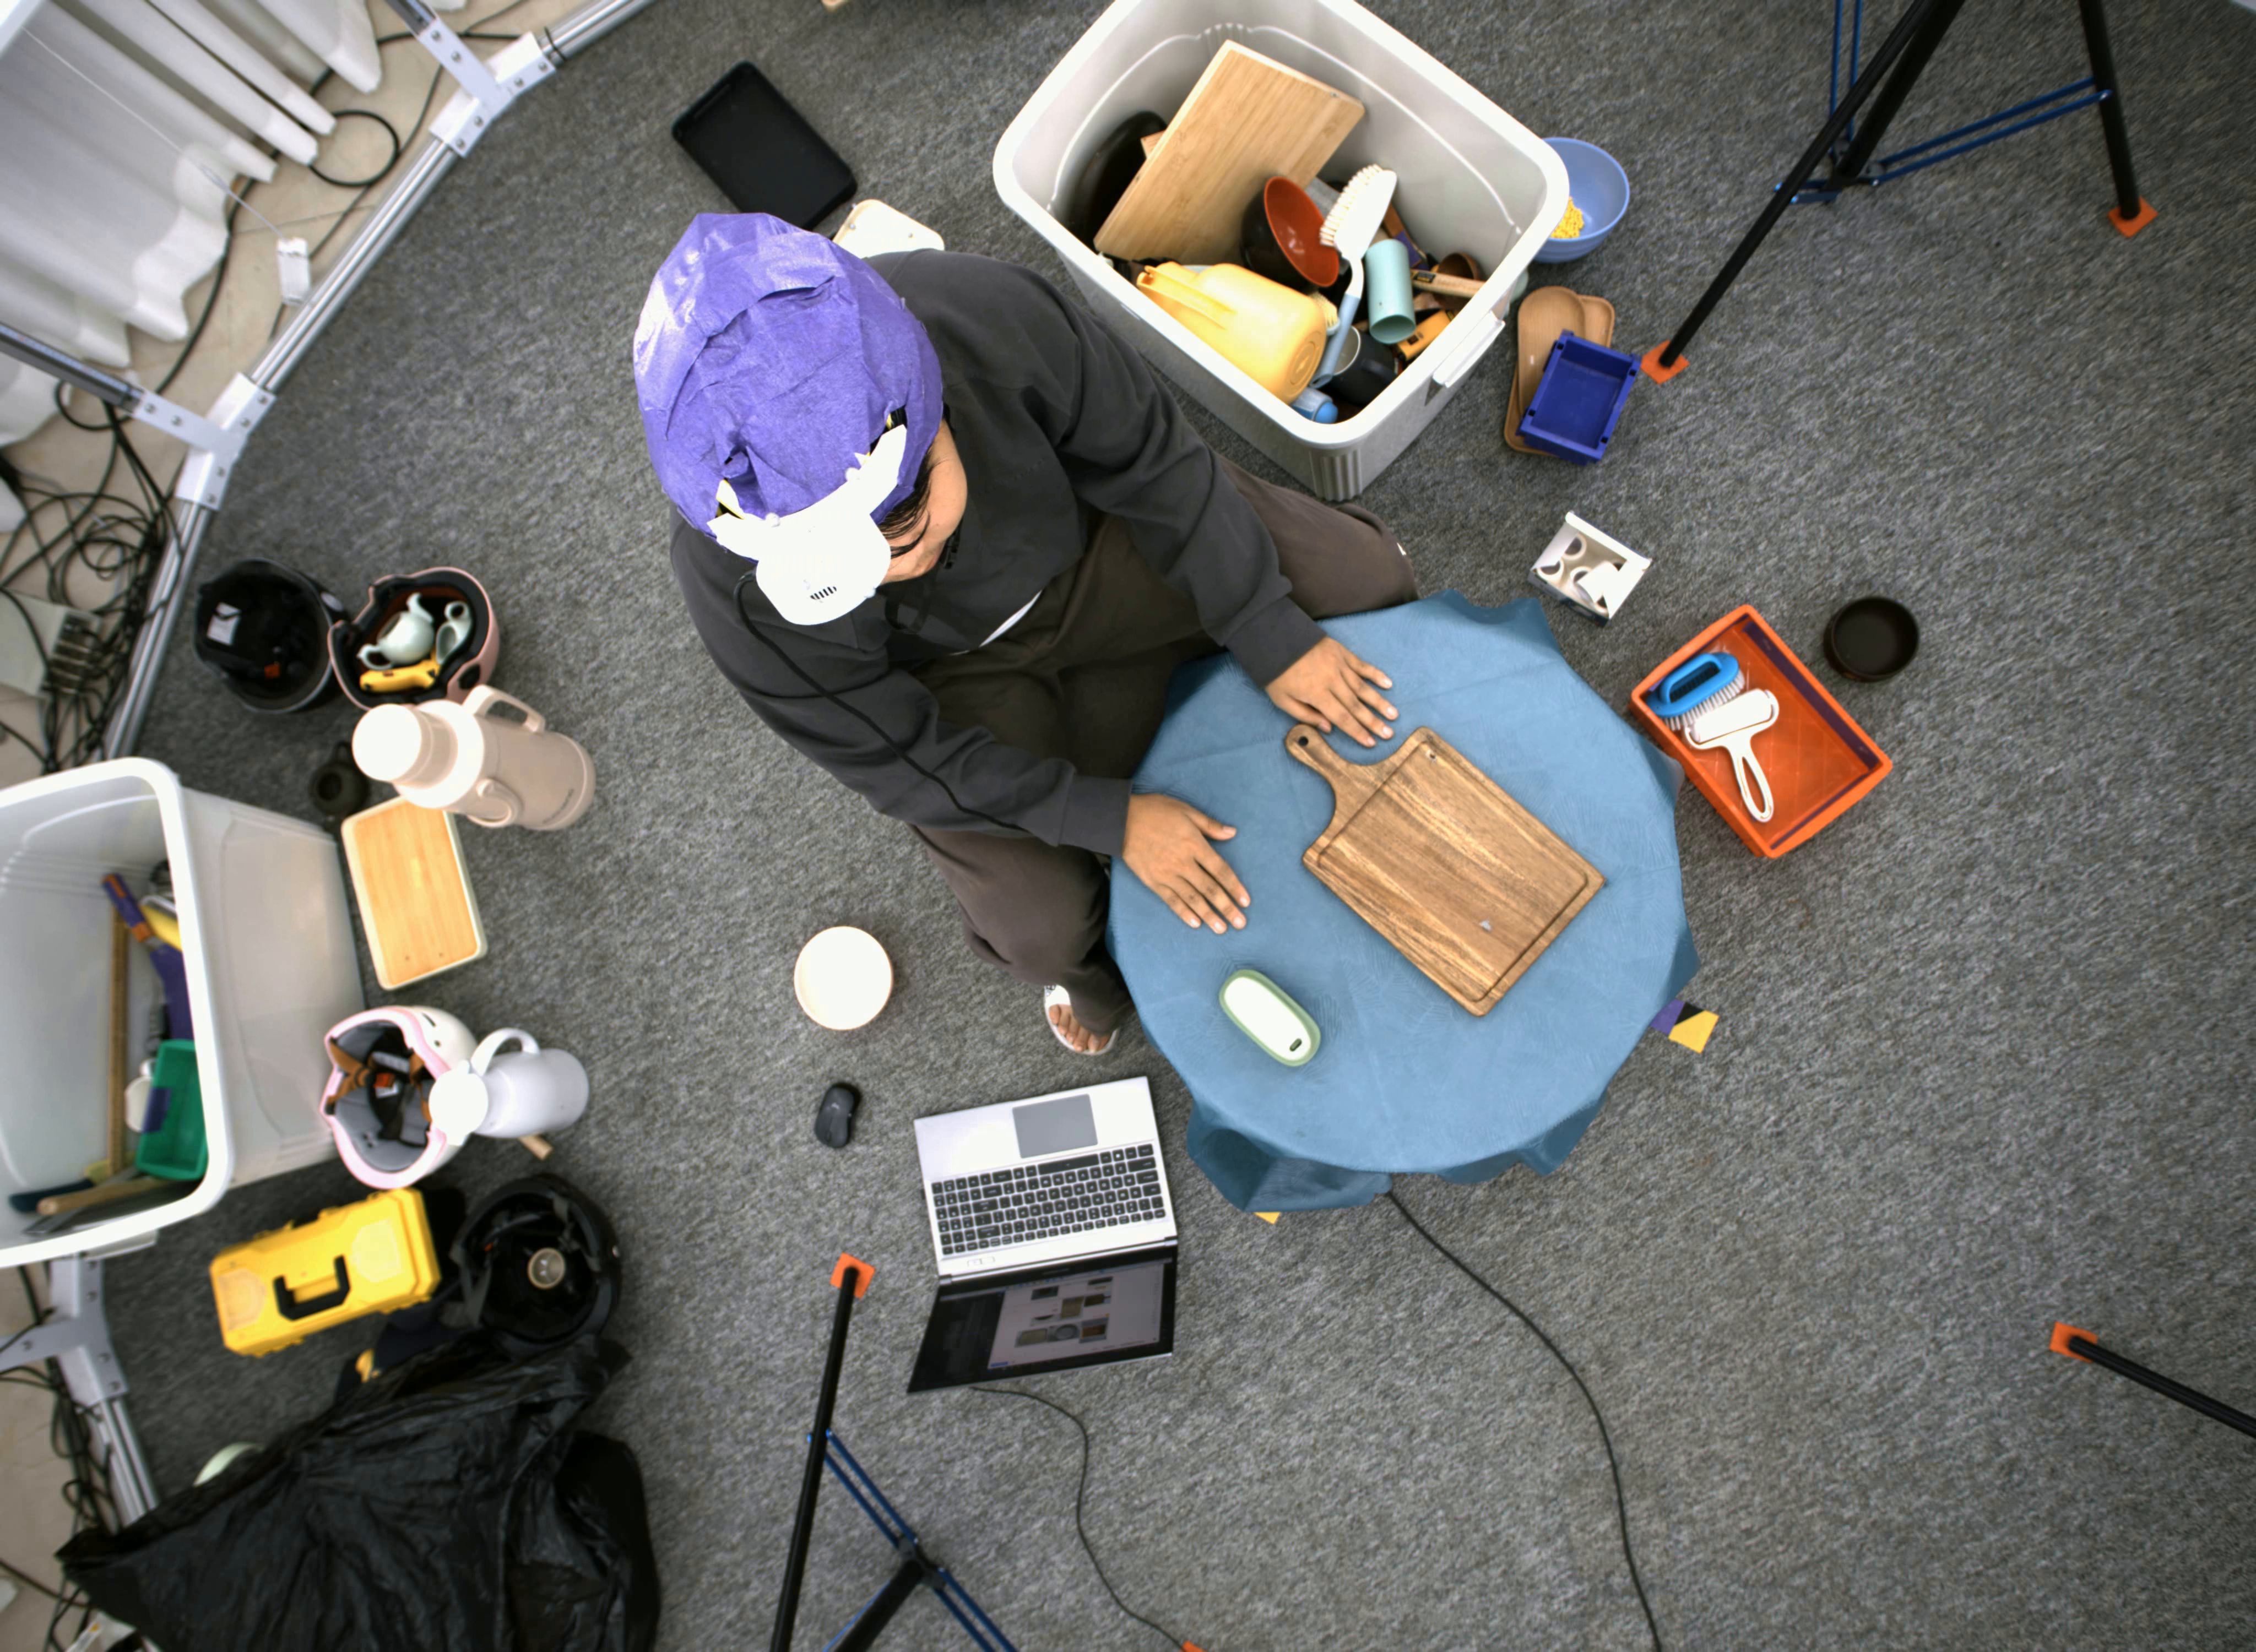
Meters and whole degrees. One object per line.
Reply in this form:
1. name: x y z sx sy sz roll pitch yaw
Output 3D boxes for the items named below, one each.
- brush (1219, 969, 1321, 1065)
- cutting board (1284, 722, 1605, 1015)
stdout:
1. brush: 0.149 0.200 1.450 0.122 0.076 0.060 41 92 25
2. cutting board: 0.302 0.009 1.448 0.350 0.023 0.202 43 95 11
